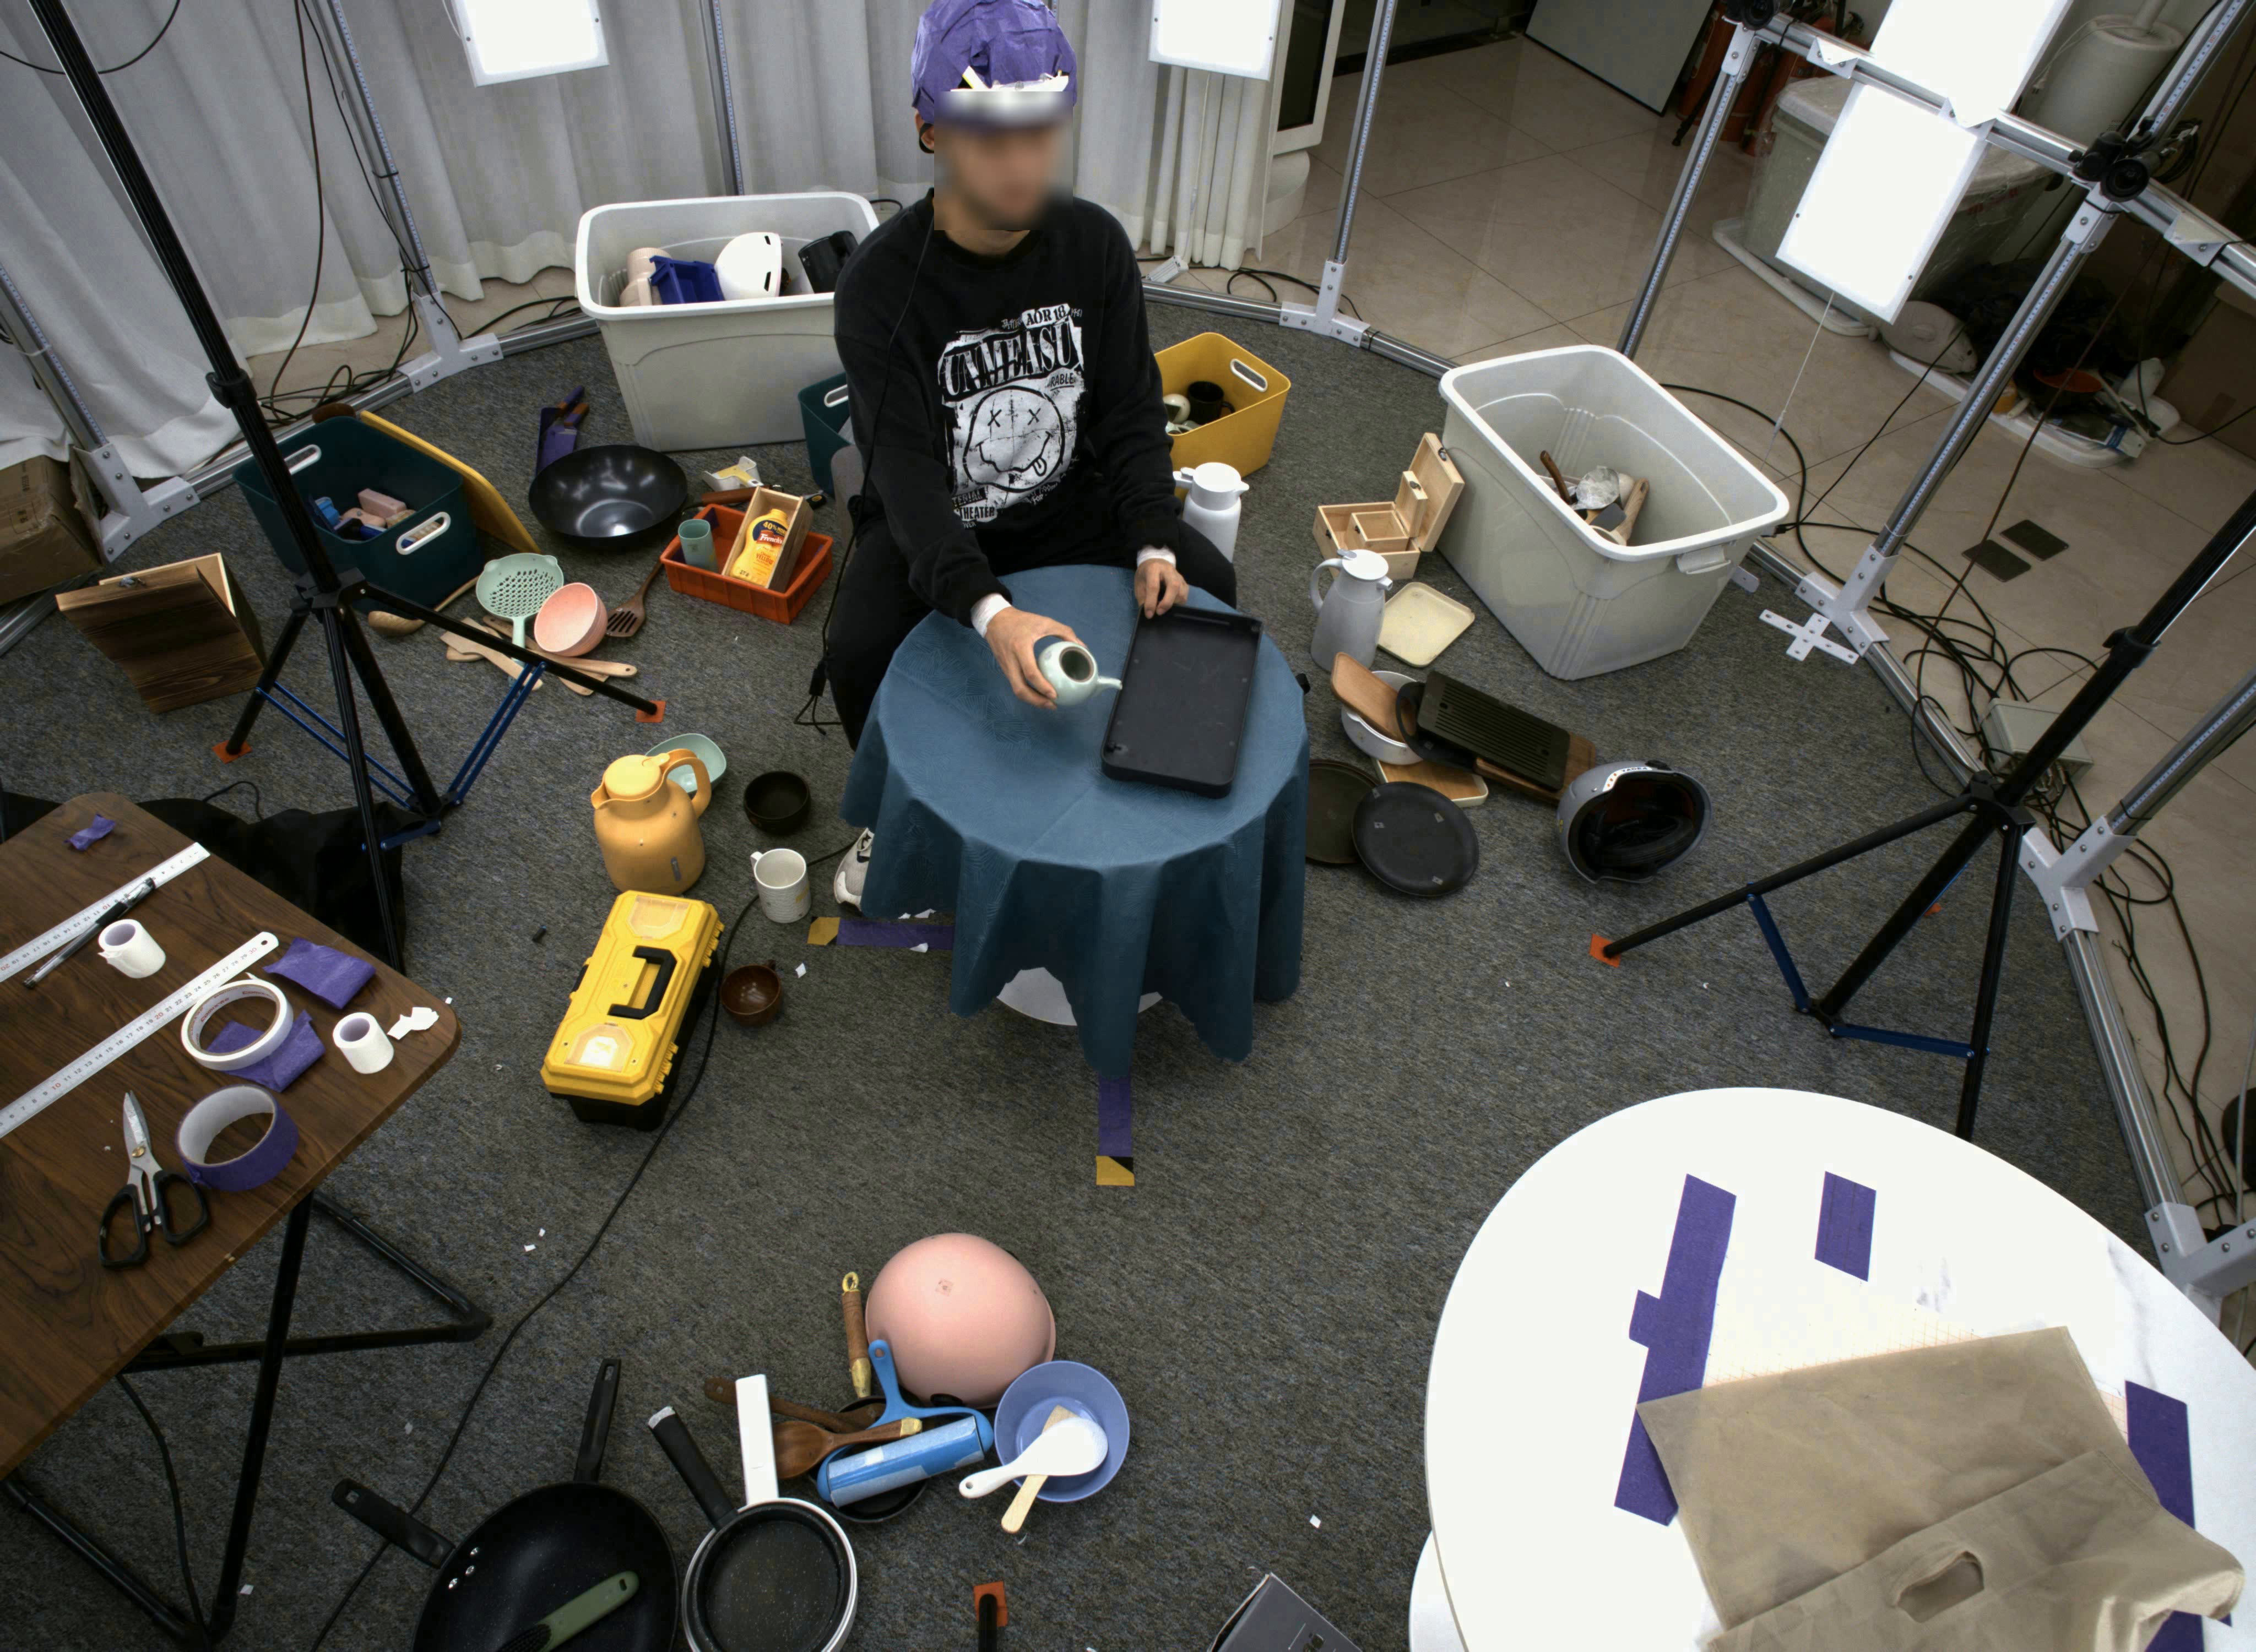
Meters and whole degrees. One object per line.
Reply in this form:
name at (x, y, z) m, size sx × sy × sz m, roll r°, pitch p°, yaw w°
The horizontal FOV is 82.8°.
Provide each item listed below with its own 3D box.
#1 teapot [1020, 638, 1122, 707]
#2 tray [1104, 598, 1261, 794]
teapot at (-0.084, -0.205, 1.724) m, size 0.142 × 0.074 × 0.090 m, roll 27°, pitch 57°, yaw -21°
tray at (0.080, -0.188, 1.799) m, size 0.184 × 0.036 × 0.325 m, roll 8°, pitch 54°, yaw 5°
